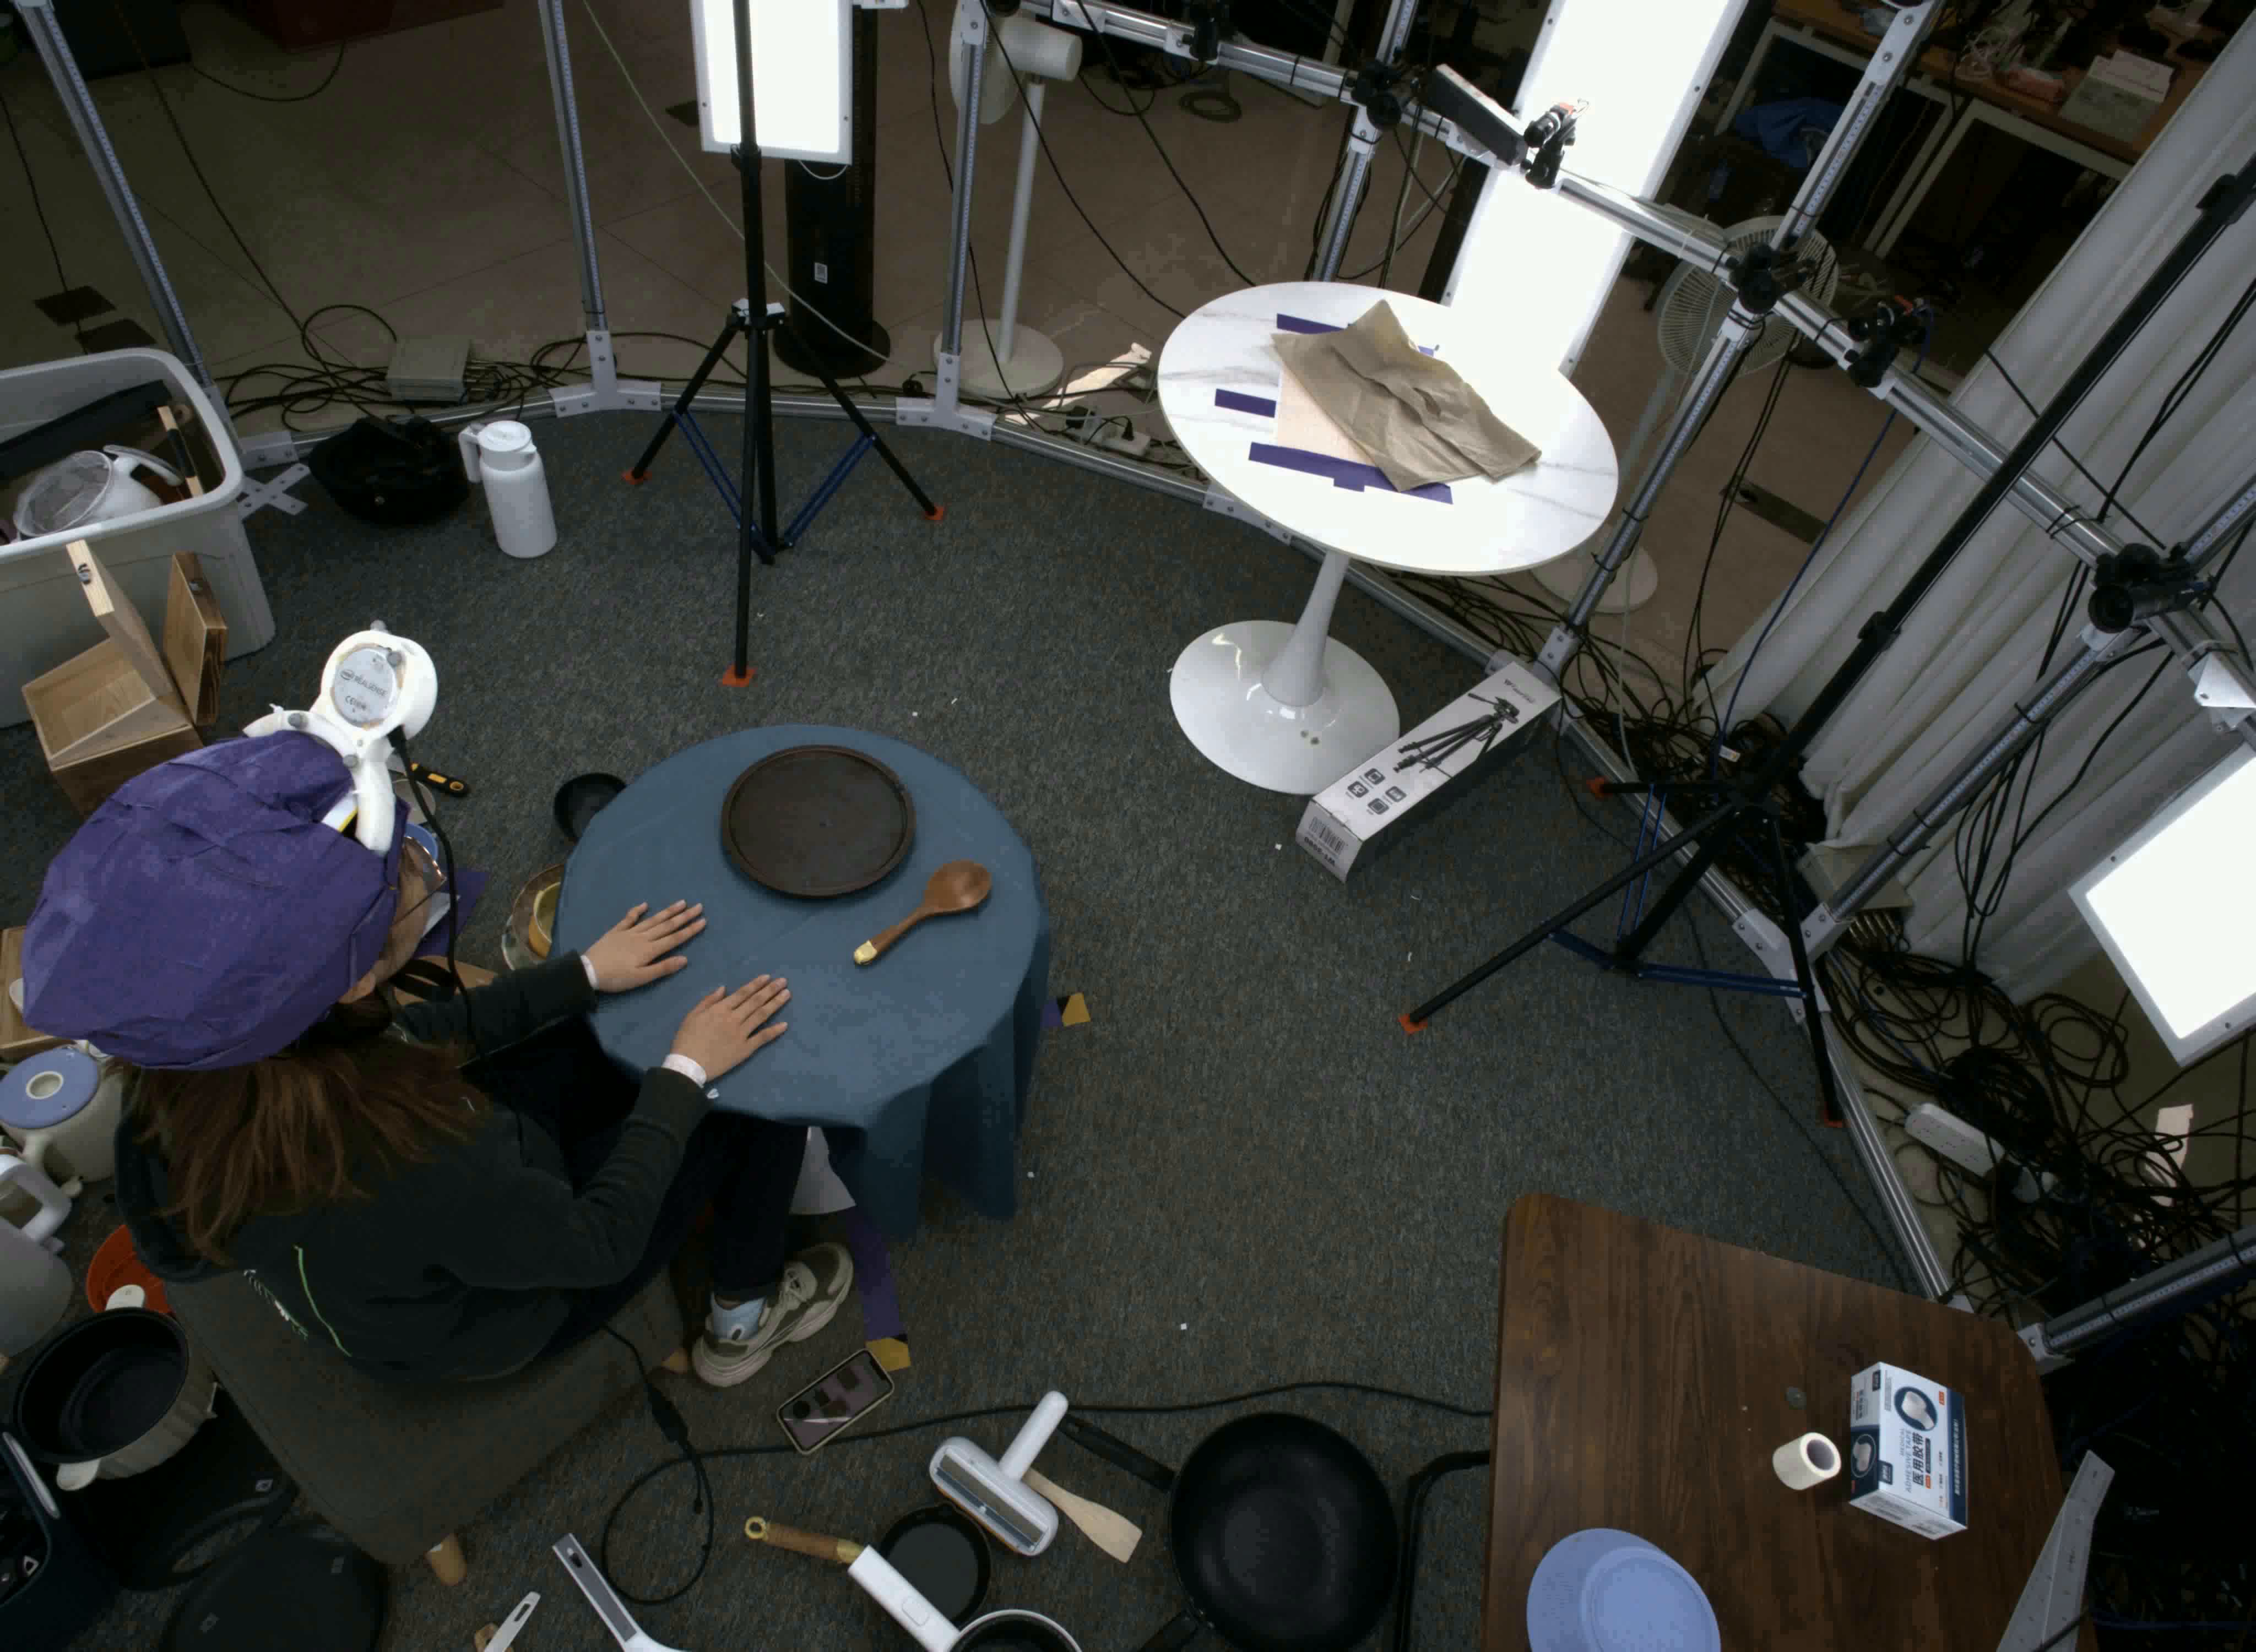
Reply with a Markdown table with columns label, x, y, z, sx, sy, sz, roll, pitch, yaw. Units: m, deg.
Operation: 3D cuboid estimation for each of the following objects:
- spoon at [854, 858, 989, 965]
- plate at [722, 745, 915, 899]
| label | x | y | z | sx | sy | sz | roll | pitch | yaw |
| --- | --- | --- | --- | --- | --- | --- | --- | --- | --- |
| spoon | -0.266 | 0.110 | 1.677 | 0.074 | 0.017 | 0.216 | 41 | 55 | 16 |
| plate | -0.410 | -0.007 | 1.724 | 0.254 | 0.029 | 0.250 | 8 | 51 | -9 |
